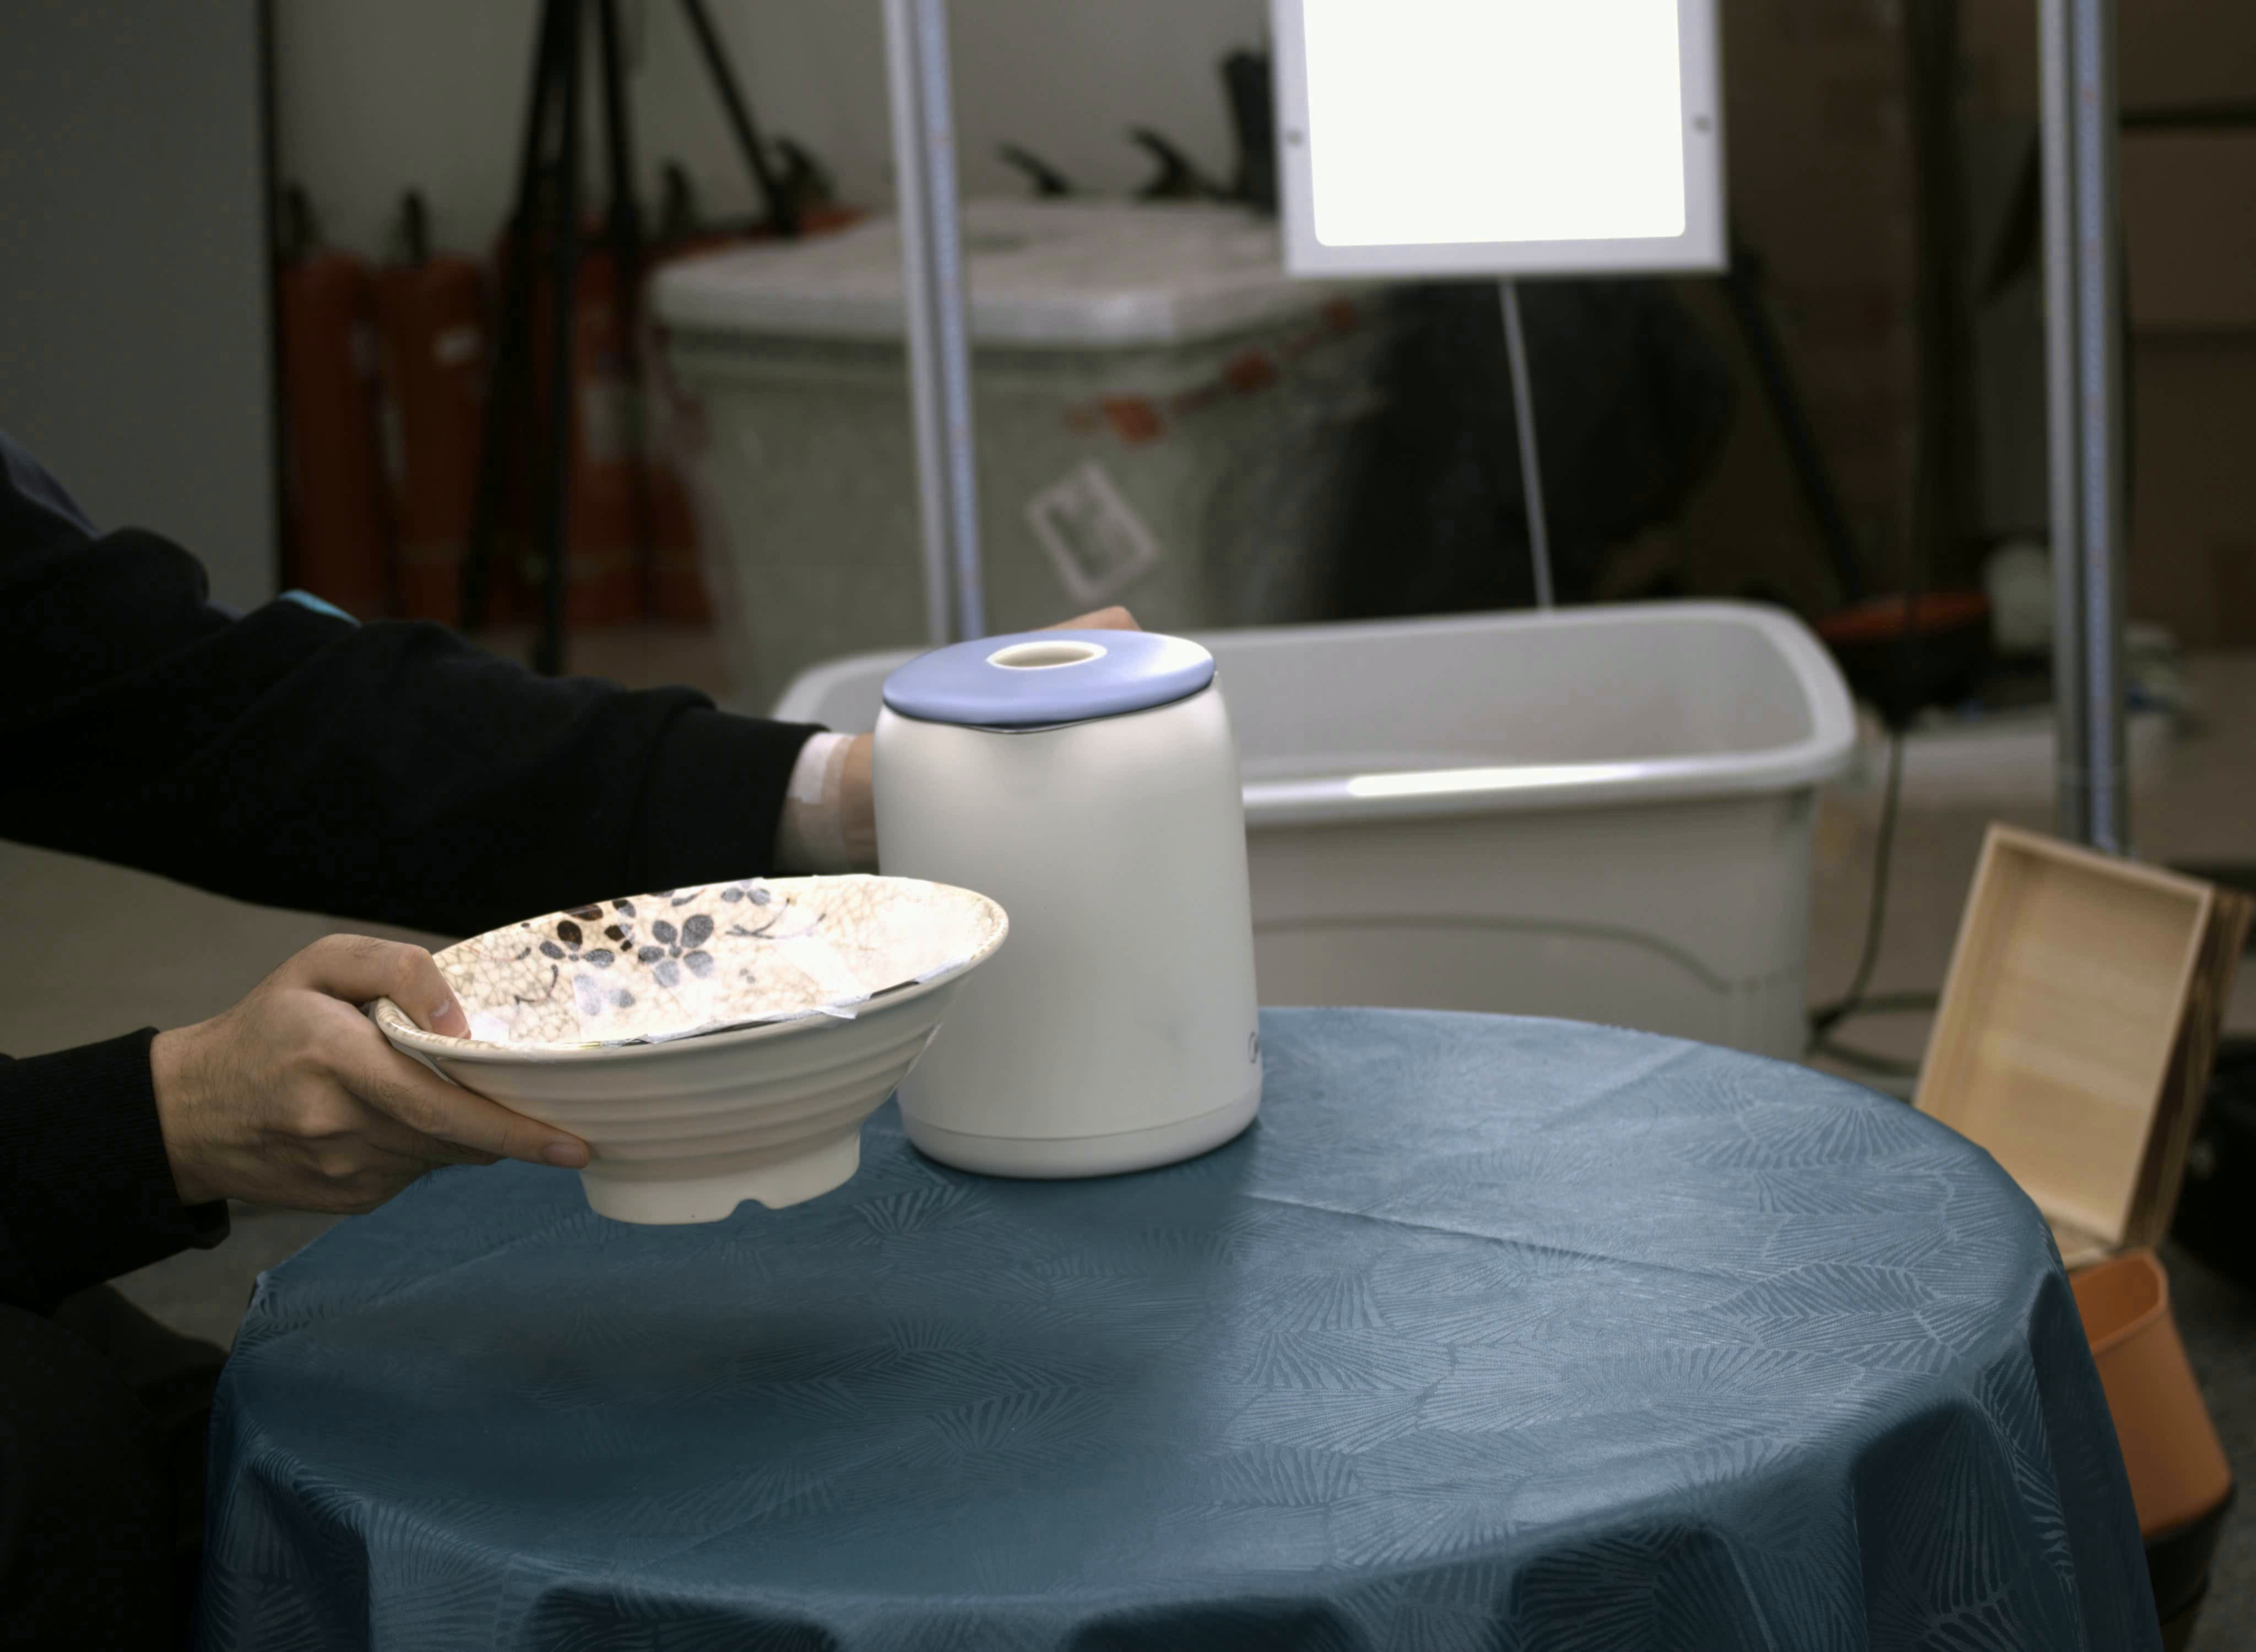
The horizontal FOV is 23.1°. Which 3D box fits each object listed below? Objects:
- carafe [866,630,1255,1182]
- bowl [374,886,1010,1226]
[{"bbox_3d":[-0.021,0.022,1.971,0.133,0.183,0.189,-2,12,7],"label":"carafe"},{"bbox_3d":[-0.134,0.078,1.753,0.203,0.078,0.204,-7,11,0],"label":"bowl"}]
